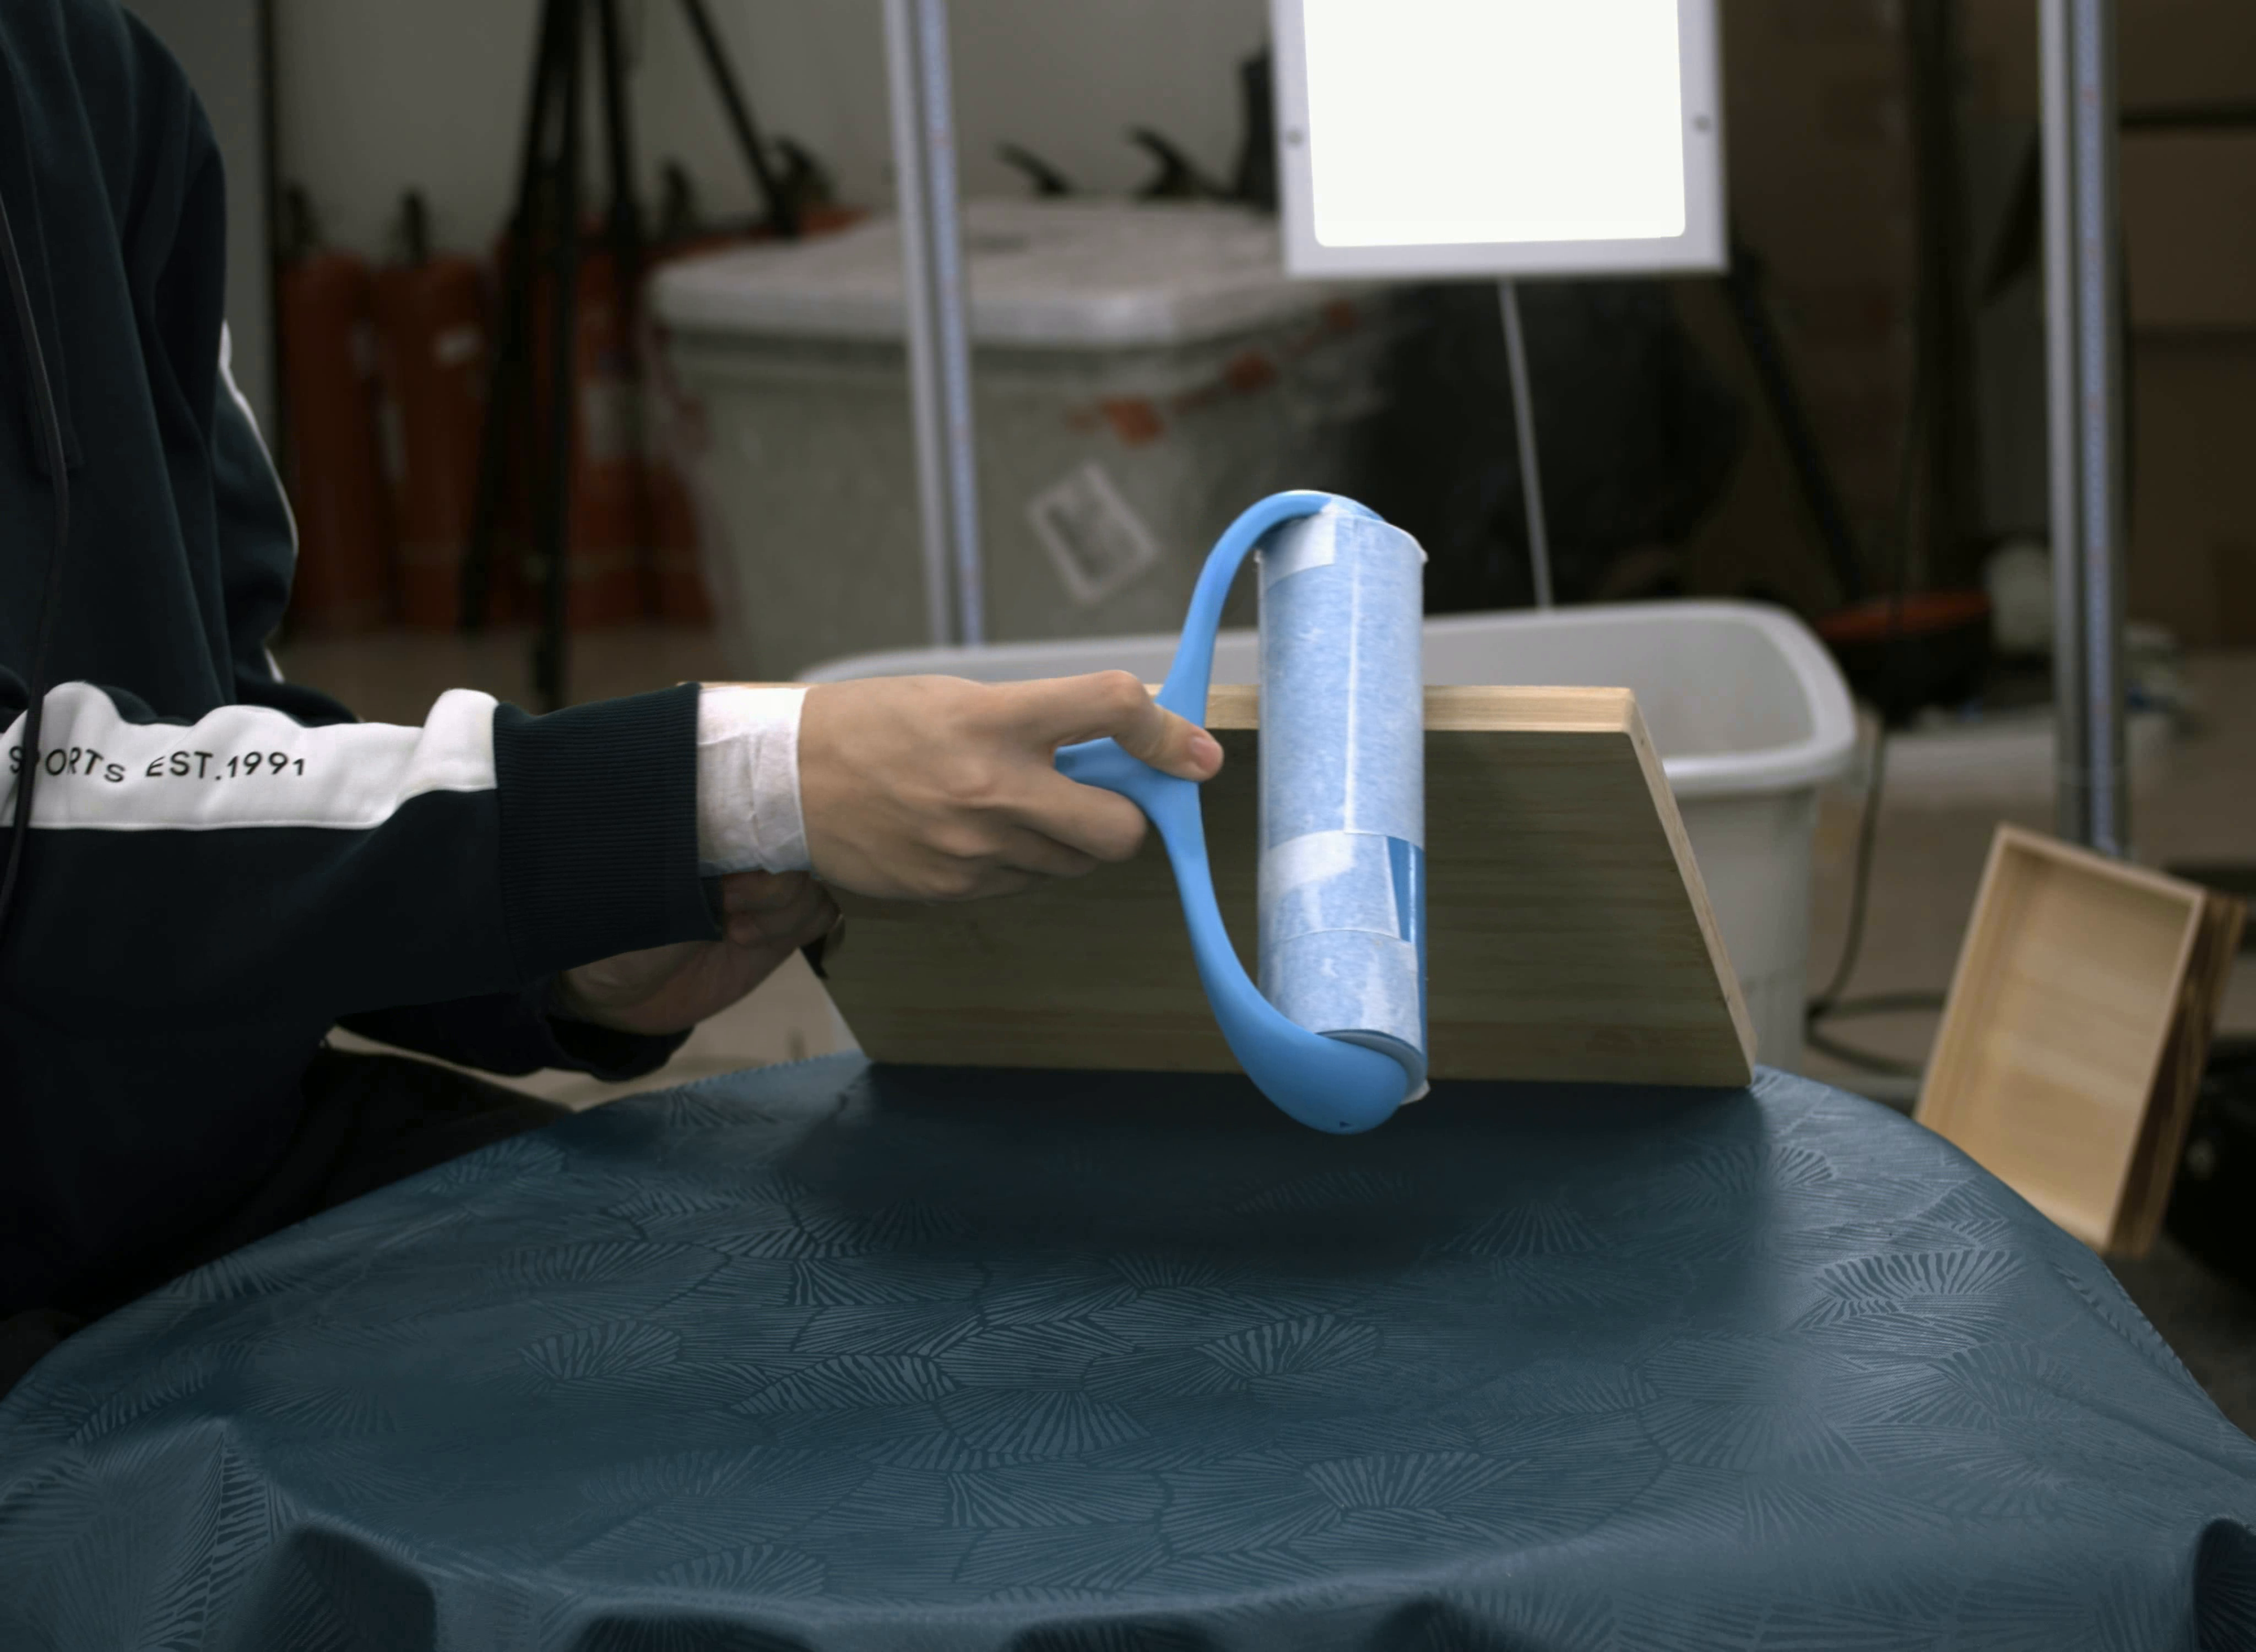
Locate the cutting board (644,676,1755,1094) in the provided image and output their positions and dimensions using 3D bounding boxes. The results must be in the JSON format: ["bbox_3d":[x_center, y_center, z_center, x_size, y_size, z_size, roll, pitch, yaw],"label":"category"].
[{"bbox_3d":[0.029,0.023,1.922,0.353,0.249,0.023,1,58,20],"label":"cutting board"}]

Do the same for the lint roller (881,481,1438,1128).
[{"bbox_3d":[0.009,-0.006,1.750,0.180,0.229,0.068,-4,-29,2],"label":"lint roller"}]
